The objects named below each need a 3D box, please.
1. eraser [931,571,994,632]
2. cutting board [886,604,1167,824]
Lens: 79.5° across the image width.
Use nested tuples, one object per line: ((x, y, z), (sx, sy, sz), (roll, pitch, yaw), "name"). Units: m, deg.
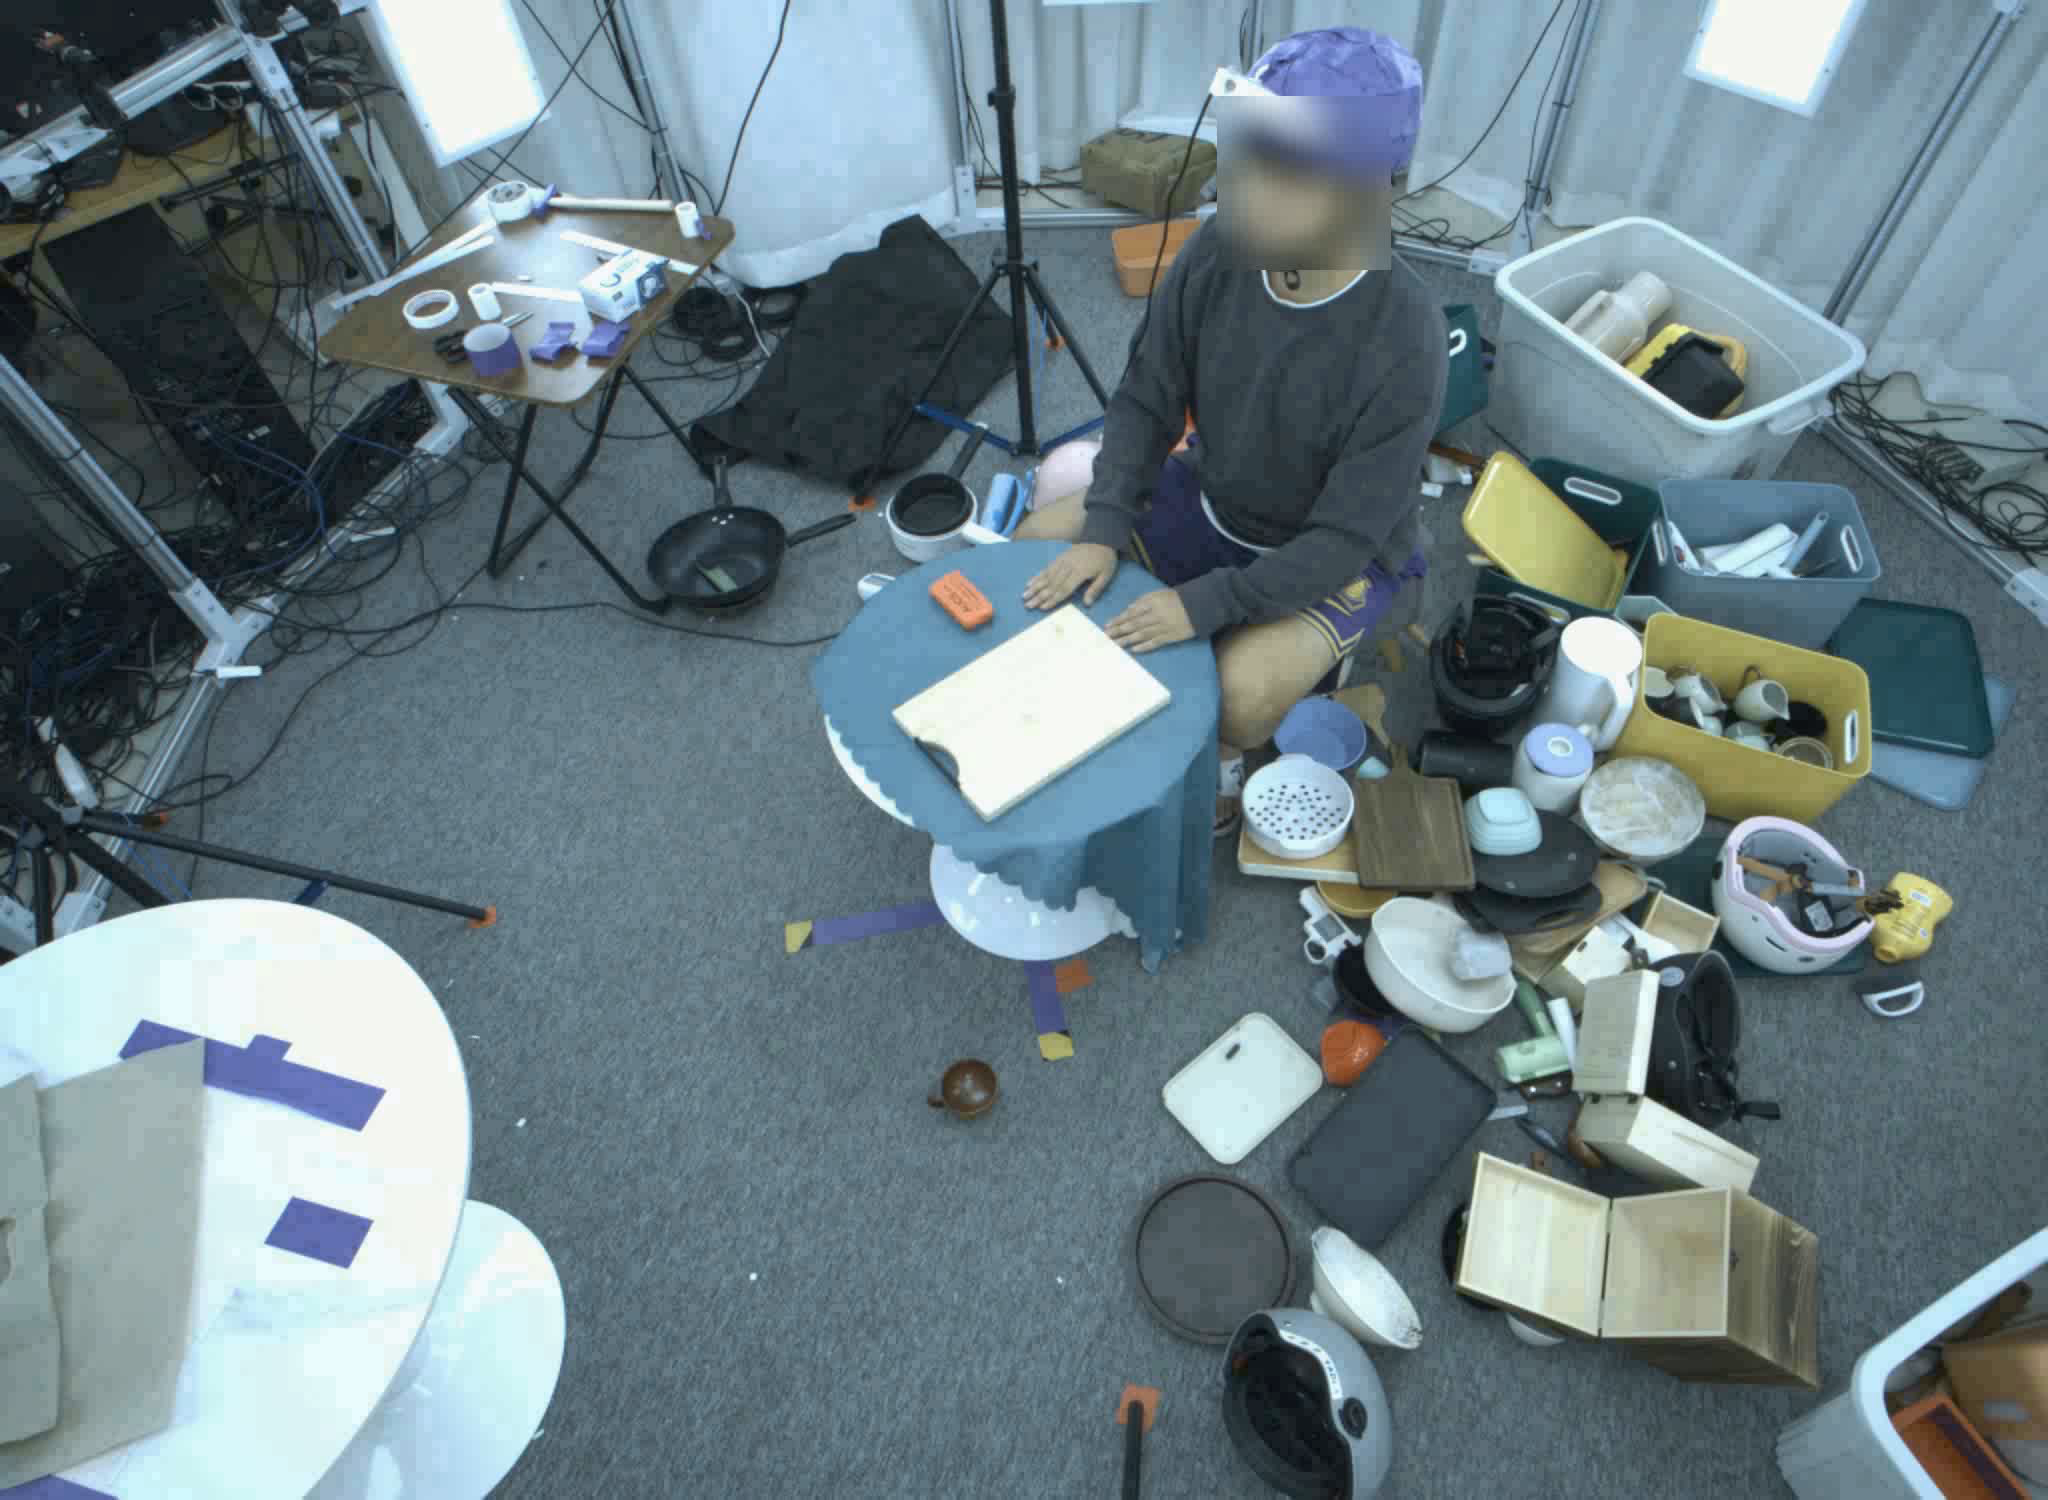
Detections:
((-0.099, -0.236, 1.946), (0.059, 0.023, 0.106), (-32, 60, -18), "eraser")
((0.006, -0.062, 1.824), (0.351, 0.024, 0.246), (-34, 60, -20), "cutting board")
